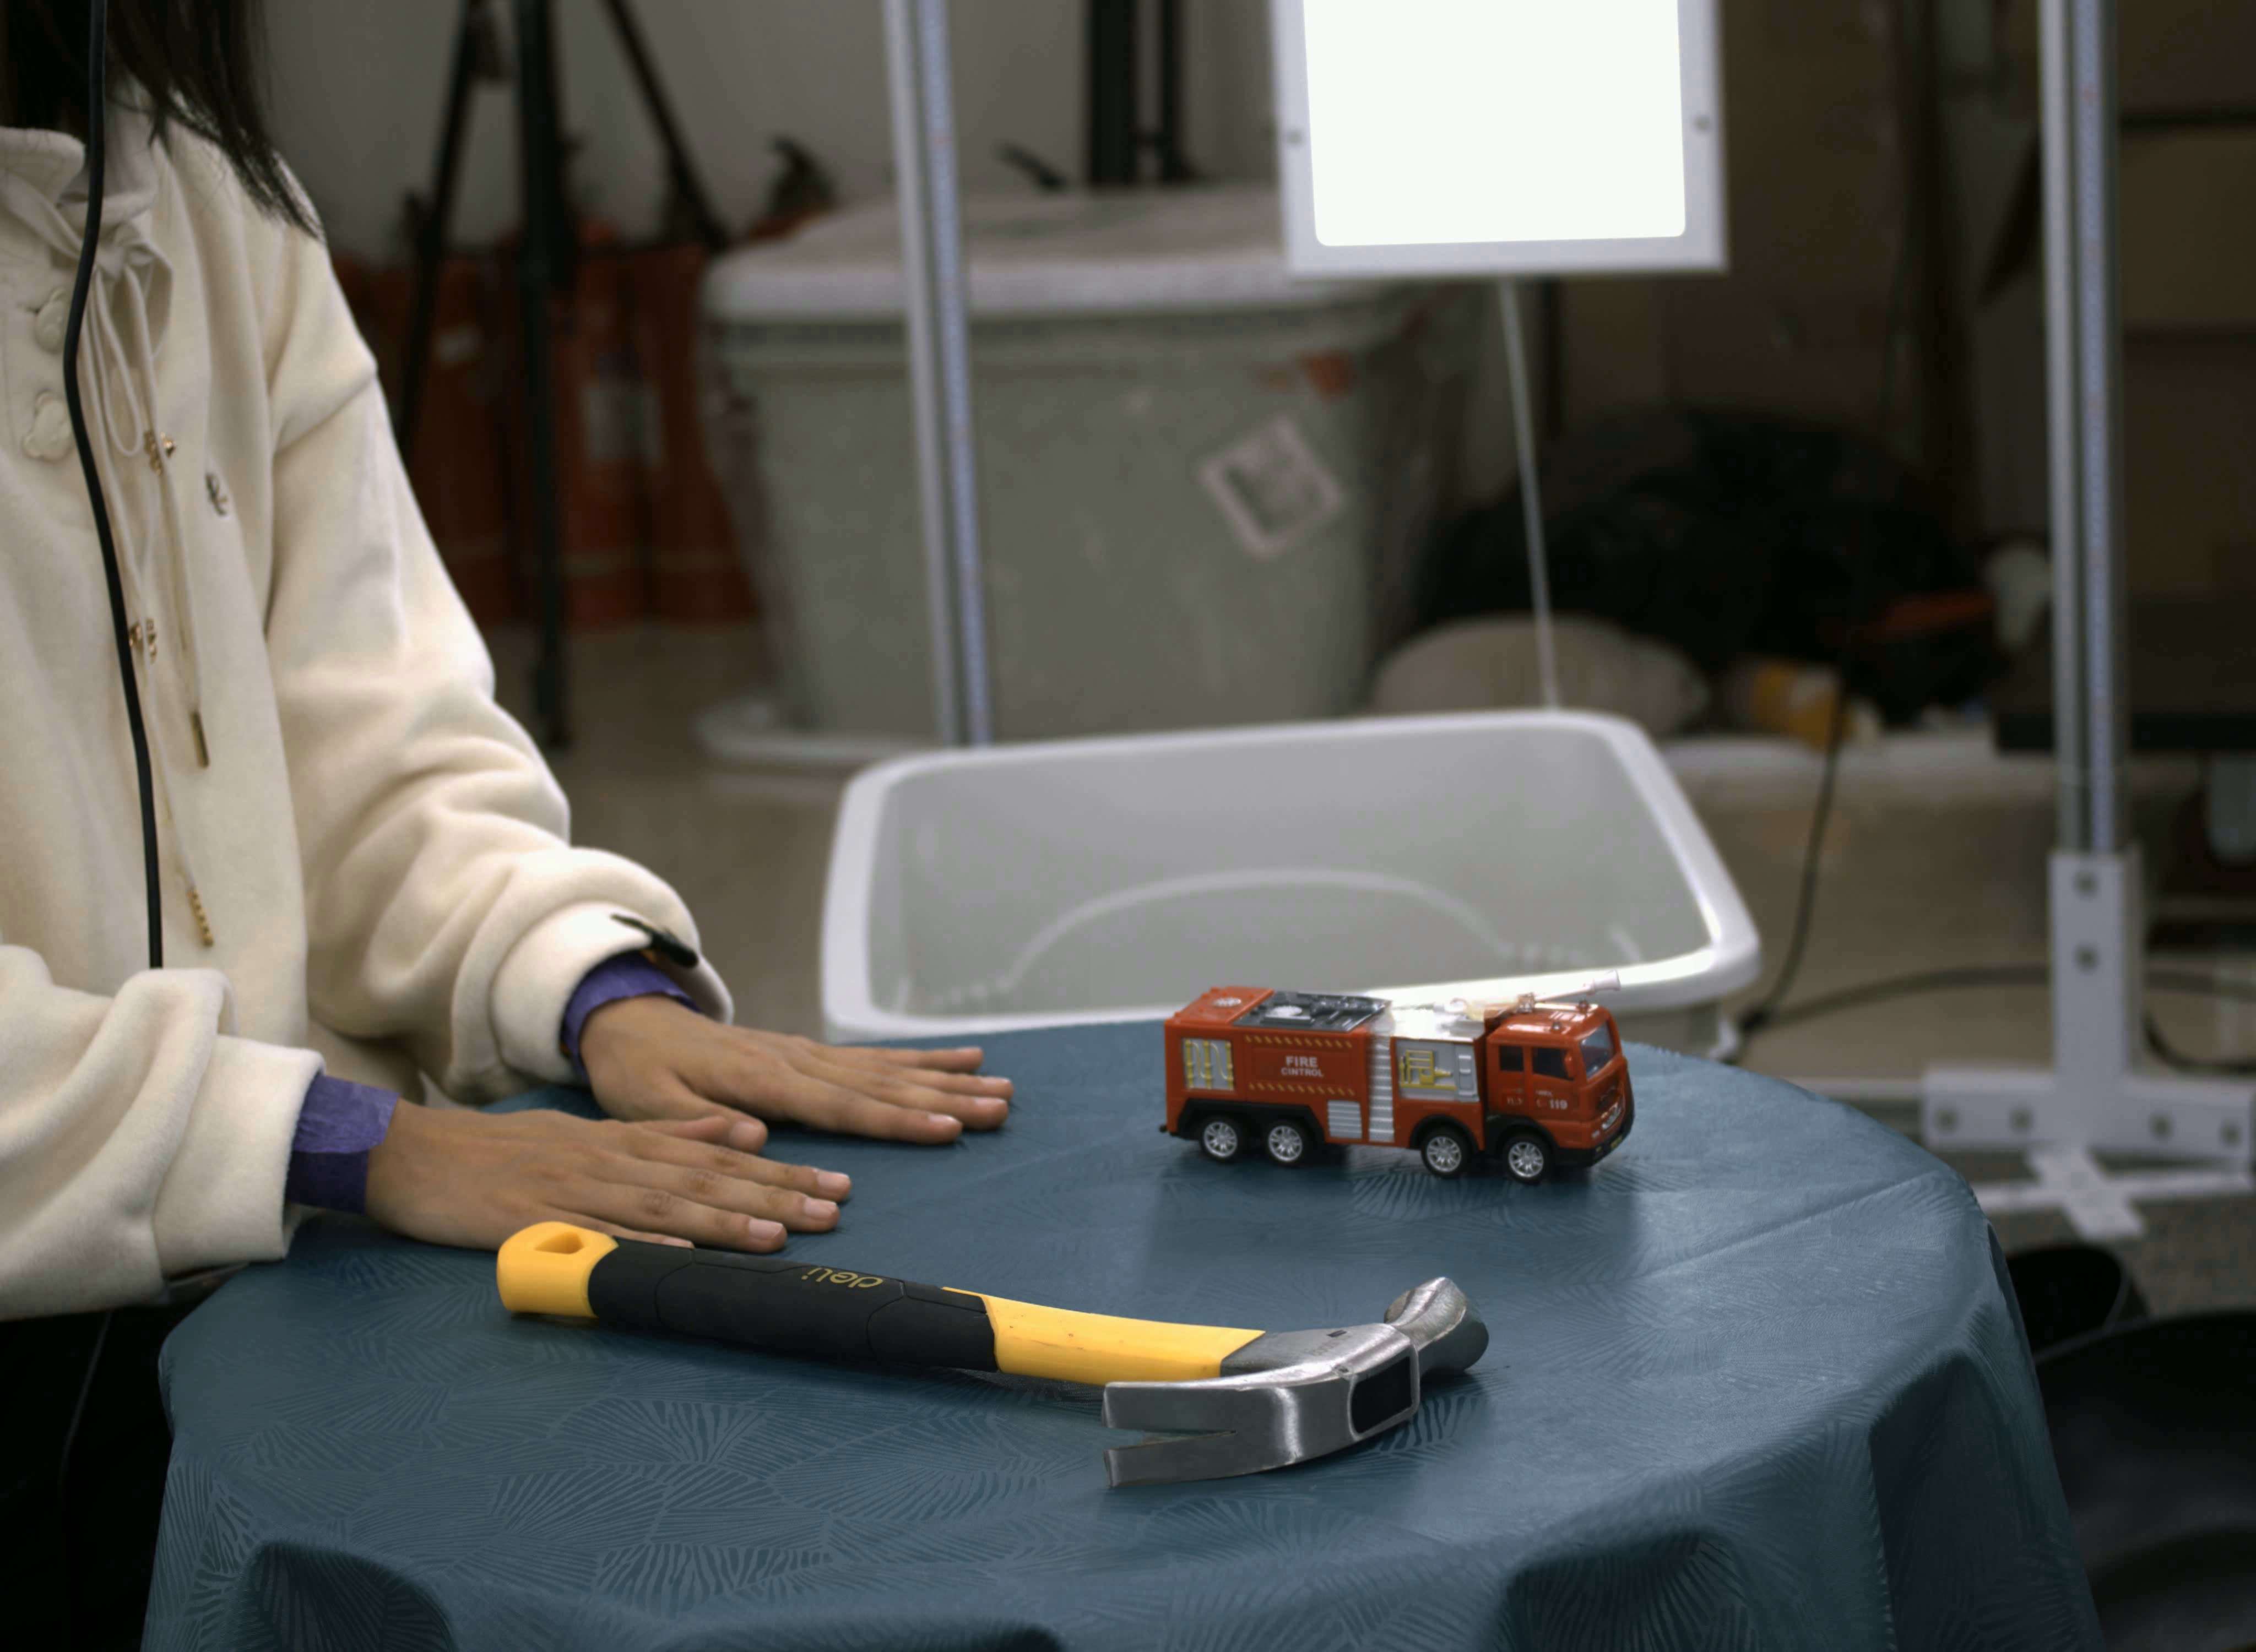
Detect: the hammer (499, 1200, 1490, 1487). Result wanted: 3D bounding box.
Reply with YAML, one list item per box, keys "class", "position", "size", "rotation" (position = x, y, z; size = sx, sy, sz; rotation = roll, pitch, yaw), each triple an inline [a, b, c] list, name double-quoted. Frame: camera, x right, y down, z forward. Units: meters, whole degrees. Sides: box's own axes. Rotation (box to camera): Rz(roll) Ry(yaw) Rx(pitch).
- class: "hammer"
  position: [-0.062, 0.153, 1.734]
  size: [0.345, 0.032, 0.128]
  rotation: [6, 19, 36]

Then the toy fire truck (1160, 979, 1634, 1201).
- class: "toy fire truck"
  position: [0.094, 0.087, 1.902]
  size: [0.171, 0.070, 0.053]
  rotation: [1, 15, 27]
